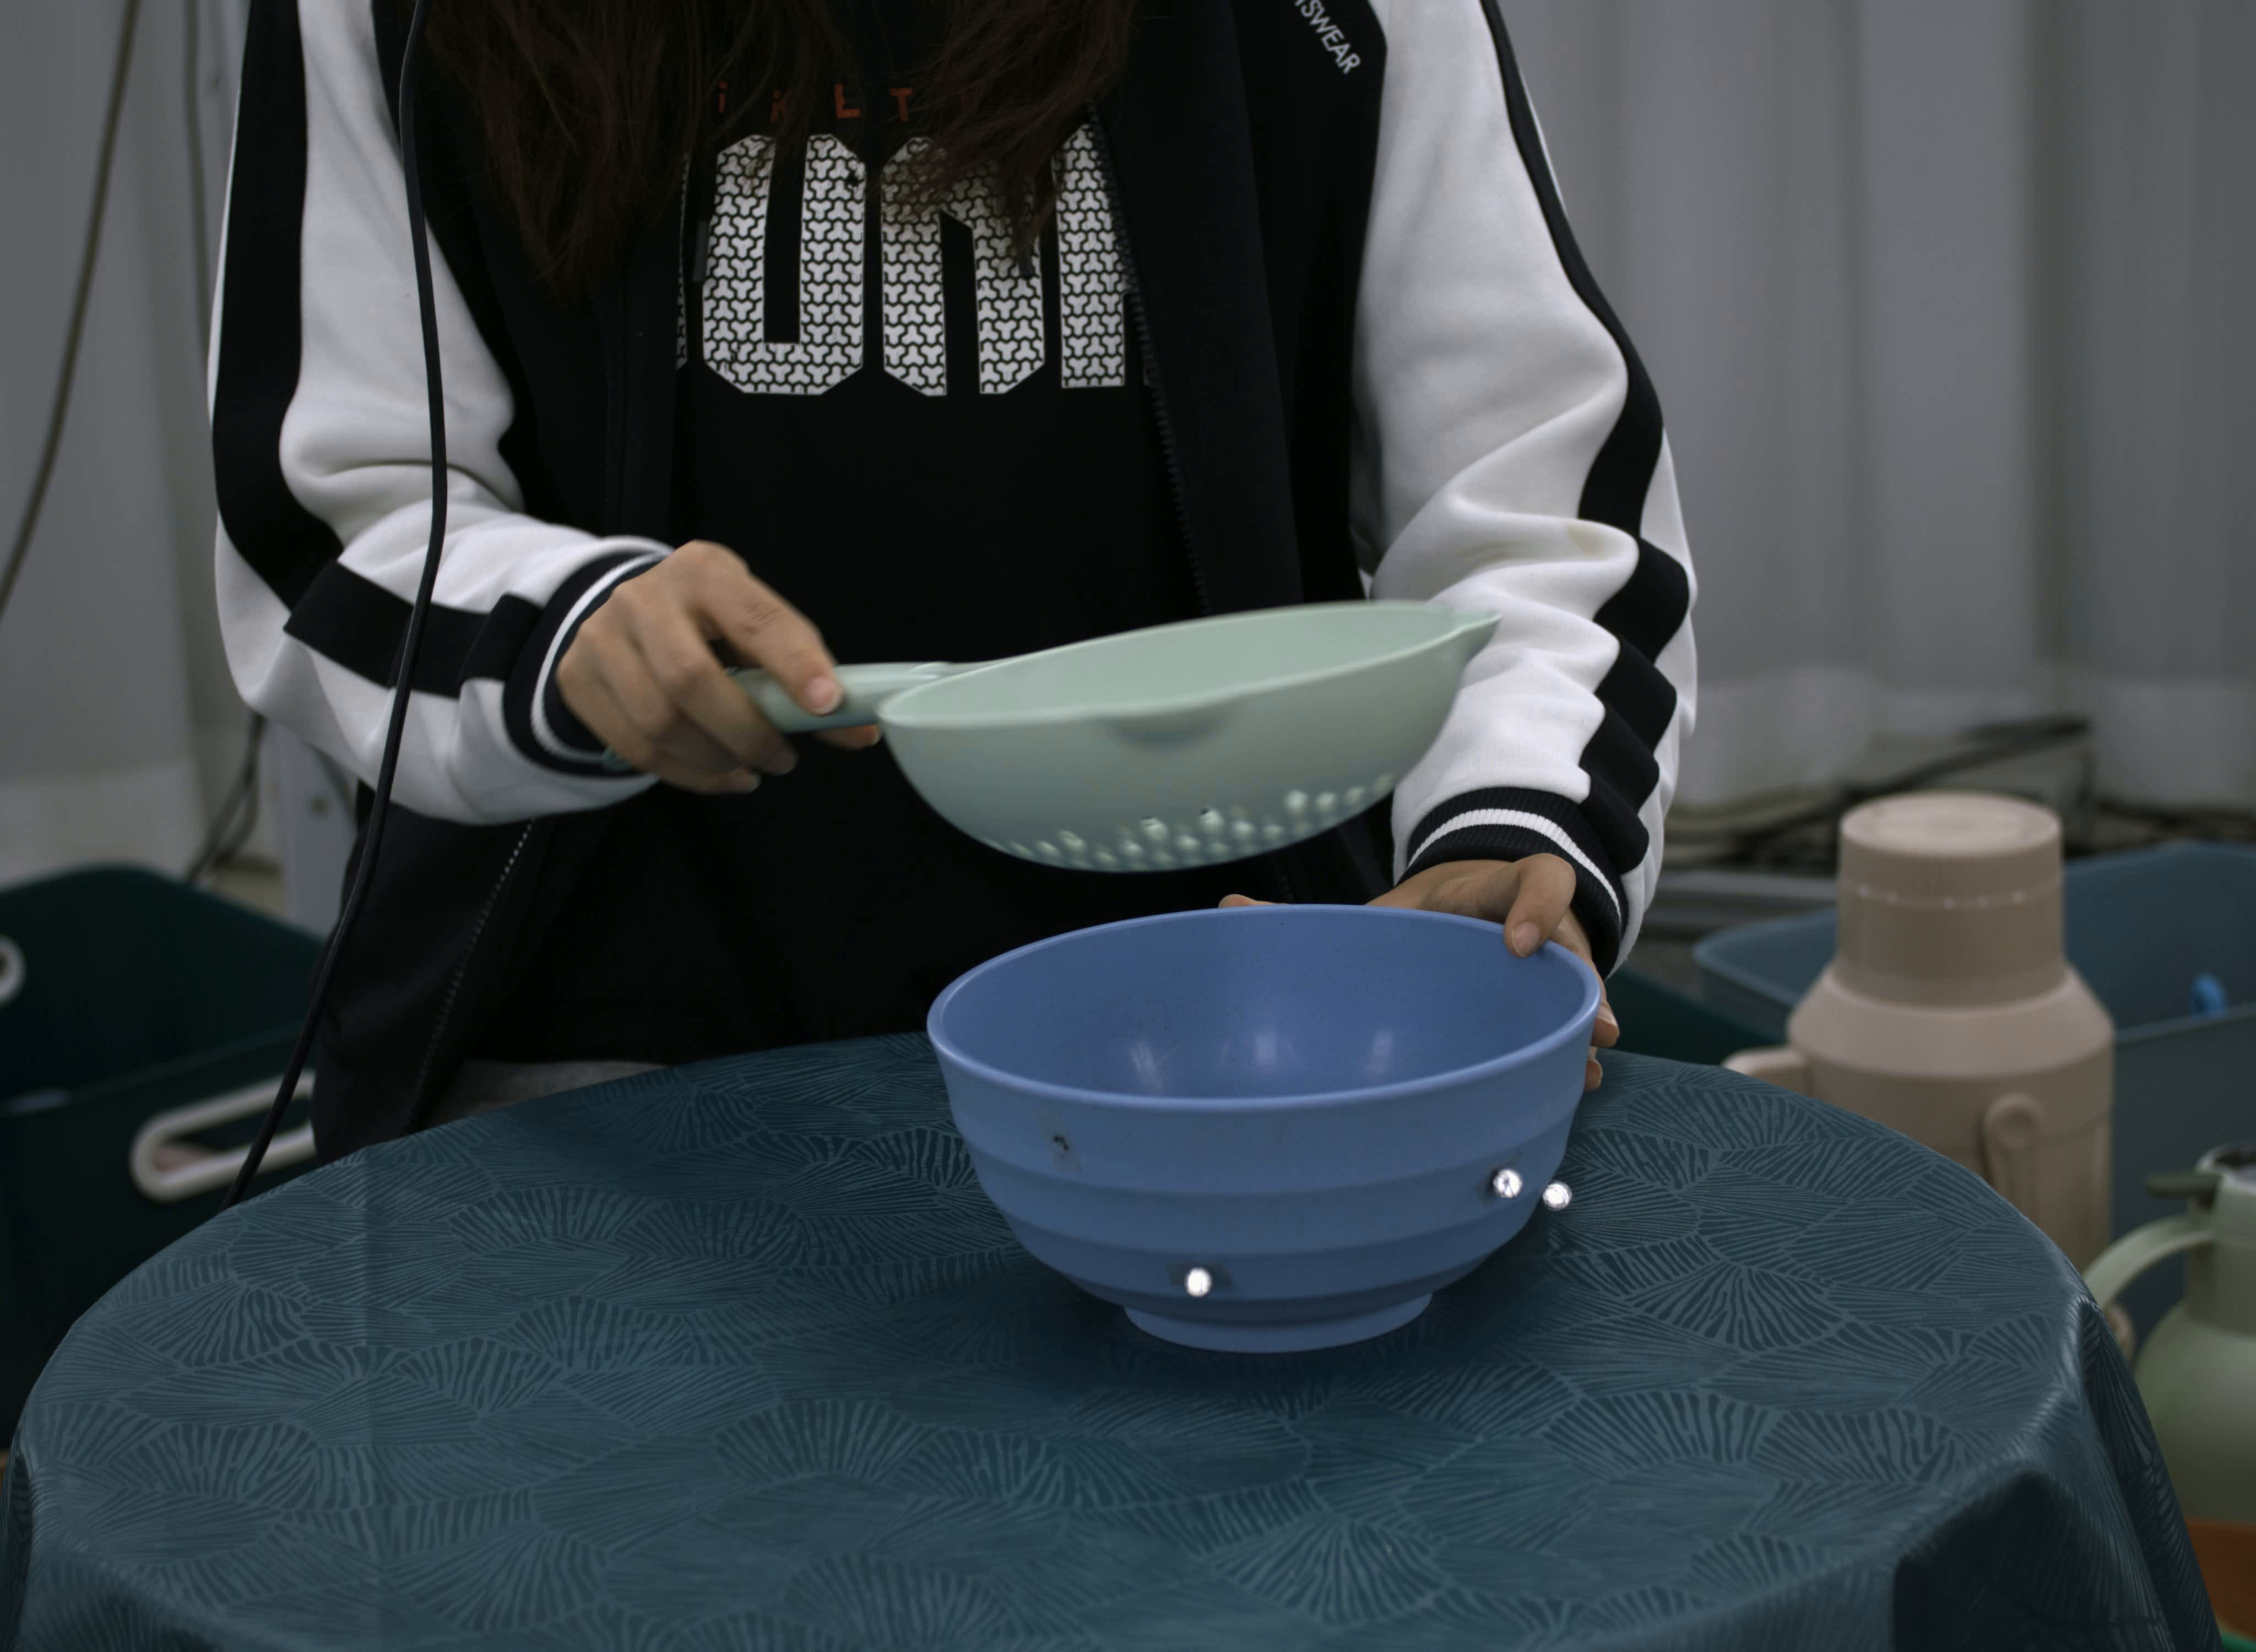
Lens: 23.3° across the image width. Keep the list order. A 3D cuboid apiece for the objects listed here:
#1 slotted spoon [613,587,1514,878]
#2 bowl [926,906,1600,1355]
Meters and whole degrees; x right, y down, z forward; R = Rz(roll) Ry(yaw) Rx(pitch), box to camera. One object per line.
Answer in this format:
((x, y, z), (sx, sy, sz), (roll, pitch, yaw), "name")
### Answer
((-0.045, -0.035, 1.623), (0.169, 0.075, 0.361), (-19, 20, -40), "slotted spoon")
((0.041, 0.095, 1.598), (0.196, 0.095, 0.198), (-3, 15, 1), "bowl")
